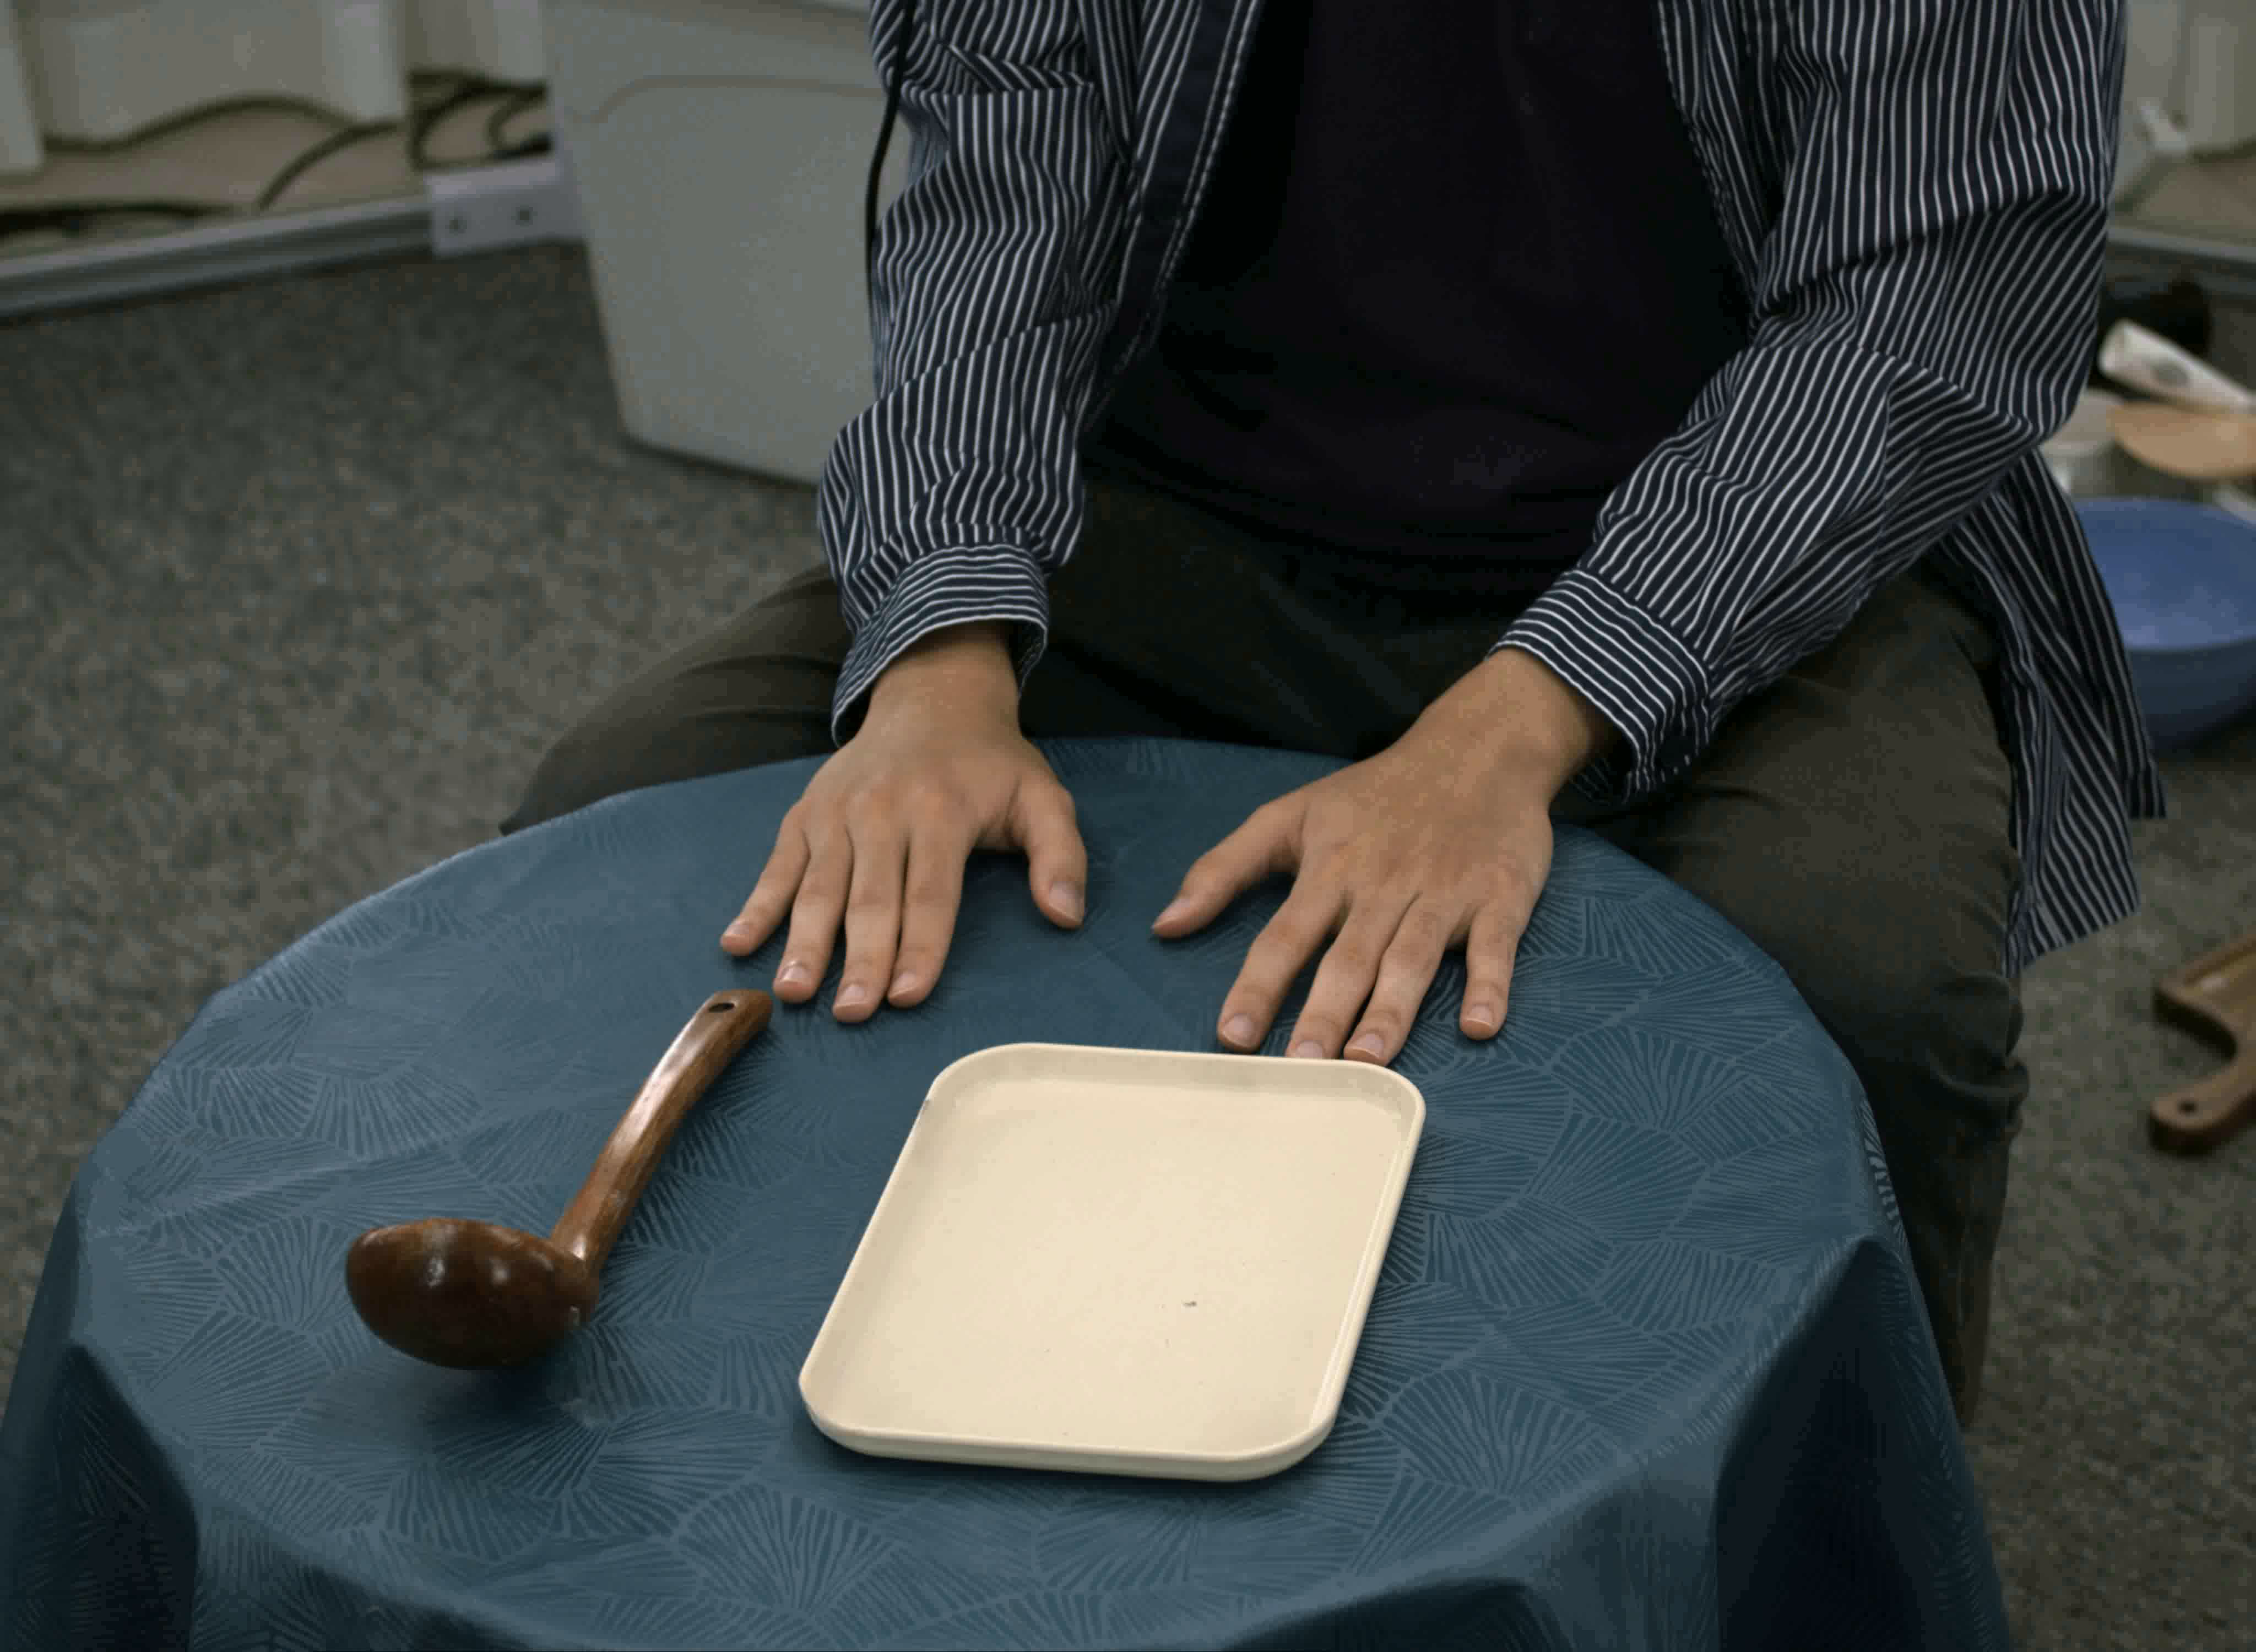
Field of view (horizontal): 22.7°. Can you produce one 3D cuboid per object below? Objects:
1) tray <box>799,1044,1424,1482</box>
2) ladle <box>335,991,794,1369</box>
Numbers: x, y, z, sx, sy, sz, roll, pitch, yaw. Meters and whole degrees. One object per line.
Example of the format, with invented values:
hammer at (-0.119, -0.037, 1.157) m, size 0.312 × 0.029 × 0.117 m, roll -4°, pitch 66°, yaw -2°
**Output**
tray at (-0.002, 0.139, 1.803) m, size 0.170 × 0.017 × 0.244 m, roll 3°, pitch 28°, yaw 11°
ladle at (-0.176, 0.096, 1.841) m, size 0.081 × 0.076 × 0.279 m, roll 1°, pitch 27°, yaw 19°
